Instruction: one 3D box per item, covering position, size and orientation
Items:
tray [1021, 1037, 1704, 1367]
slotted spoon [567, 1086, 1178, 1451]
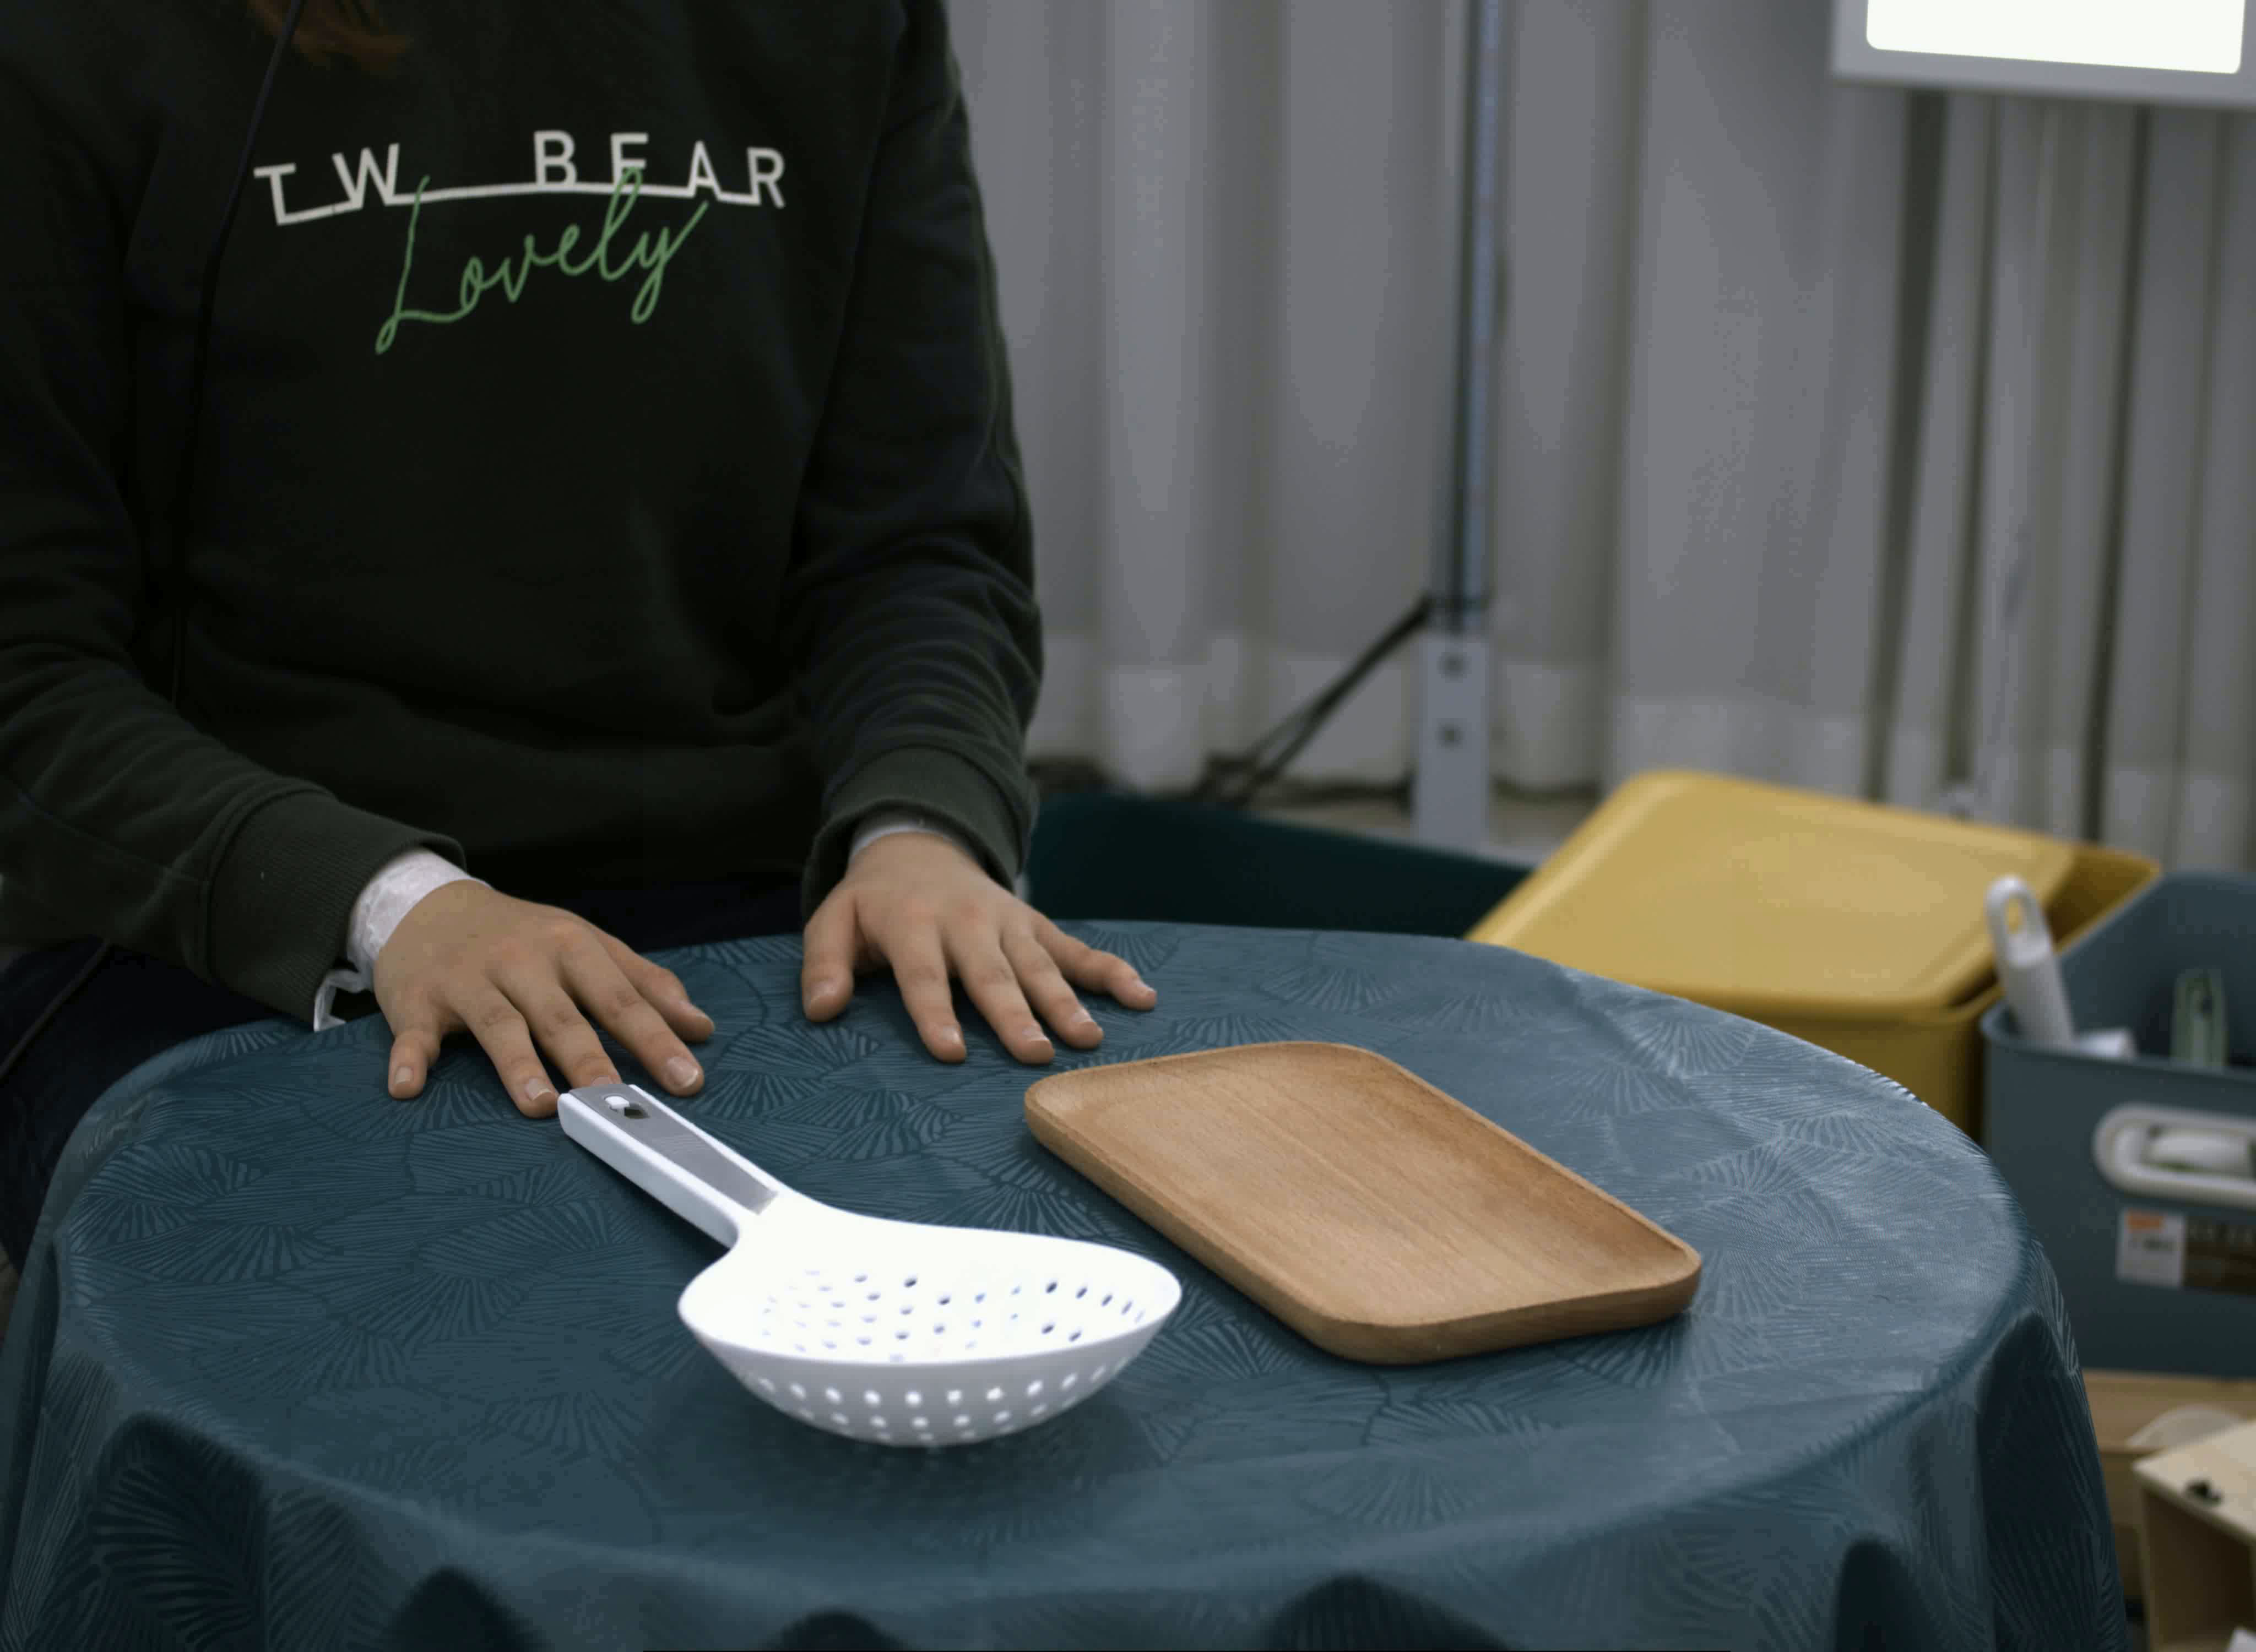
[{"bbox_3d":[0.067,0.111,1.603,0.131,0.023,0.248,-5,16,-24],"label":"tray"},{"bbox_3d":[-0.098,0.118,1.520,0.136,0.046,0.345,-4,16,-24],"label":"slotted spoon"}]
